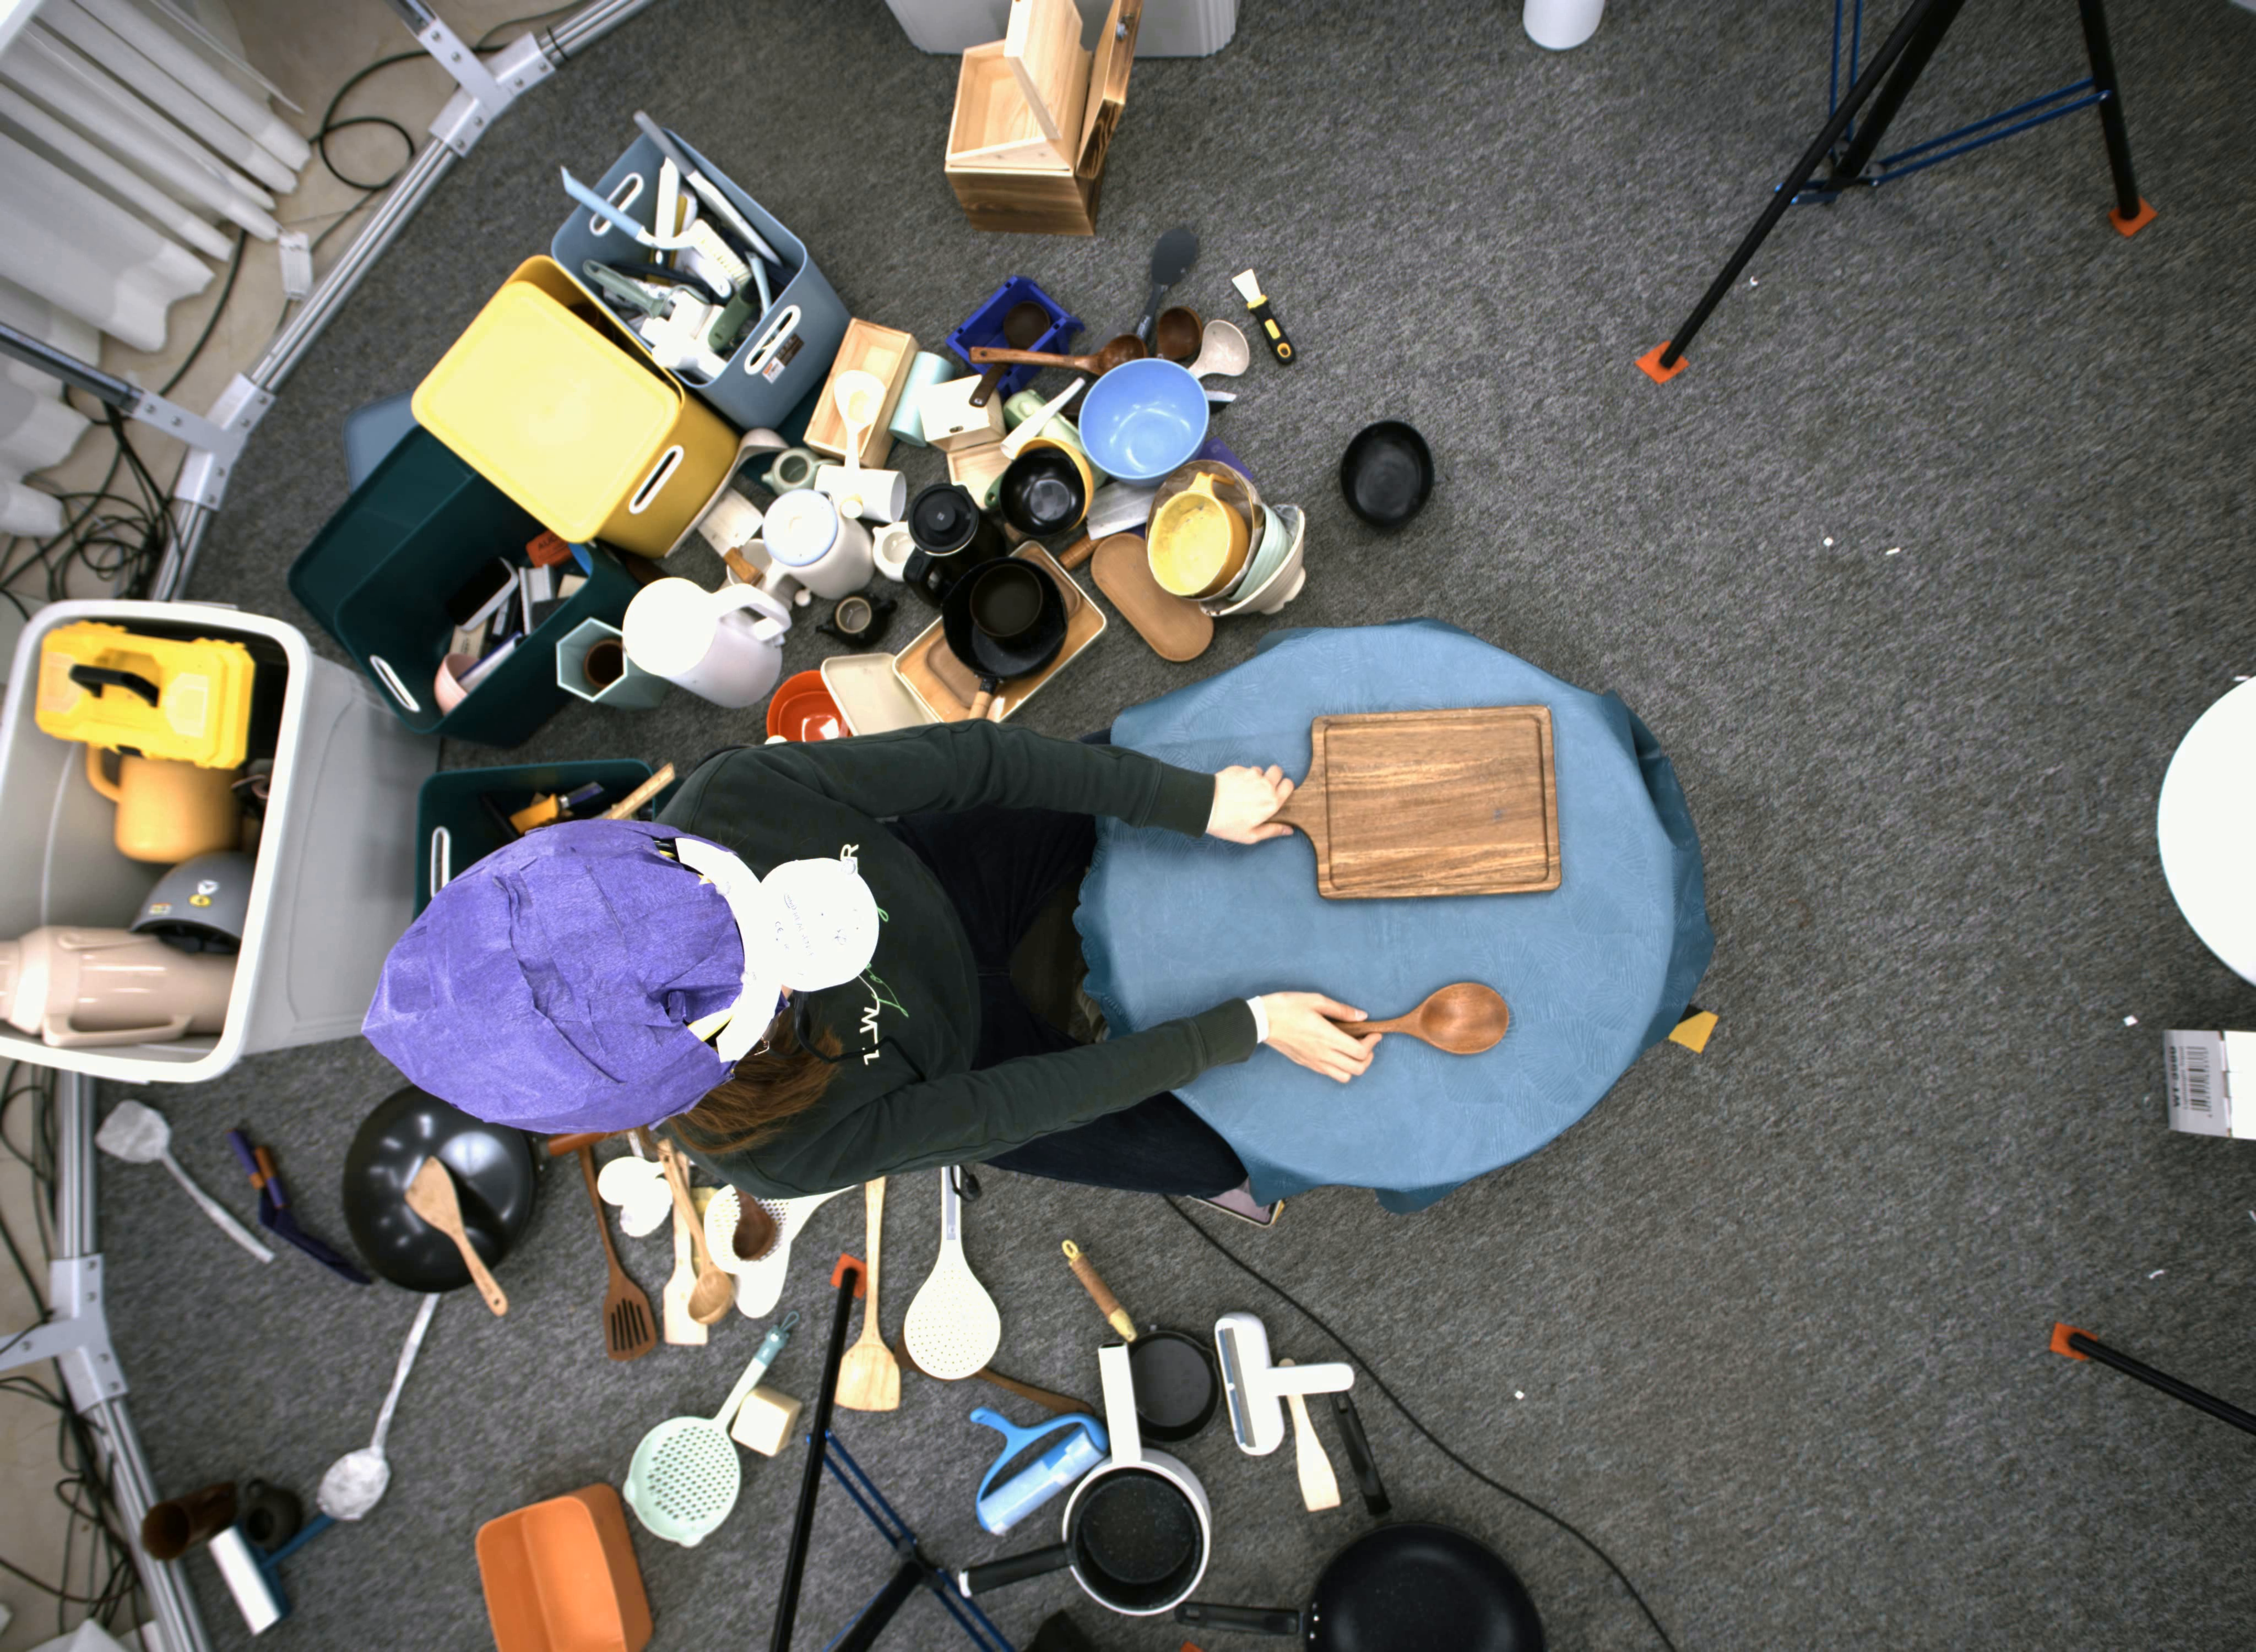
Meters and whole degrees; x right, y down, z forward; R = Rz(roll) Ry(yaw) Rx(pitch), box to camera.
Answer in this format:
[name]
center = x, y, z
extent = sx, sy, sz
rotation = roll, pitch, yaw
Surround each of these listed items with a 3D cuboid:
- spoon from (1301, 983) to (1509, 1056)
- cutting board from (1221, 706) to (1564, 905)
[spoon]
center = 0.288, 0.207, 1.443
extent = 0.217, 0.017, 0.075
rotation = -8, 87, 9
[cutting board]
center = 0.274, -0.021, 1.454
extent = 0.353, 0.023, 0.200
rotation = -3, 87, 8
